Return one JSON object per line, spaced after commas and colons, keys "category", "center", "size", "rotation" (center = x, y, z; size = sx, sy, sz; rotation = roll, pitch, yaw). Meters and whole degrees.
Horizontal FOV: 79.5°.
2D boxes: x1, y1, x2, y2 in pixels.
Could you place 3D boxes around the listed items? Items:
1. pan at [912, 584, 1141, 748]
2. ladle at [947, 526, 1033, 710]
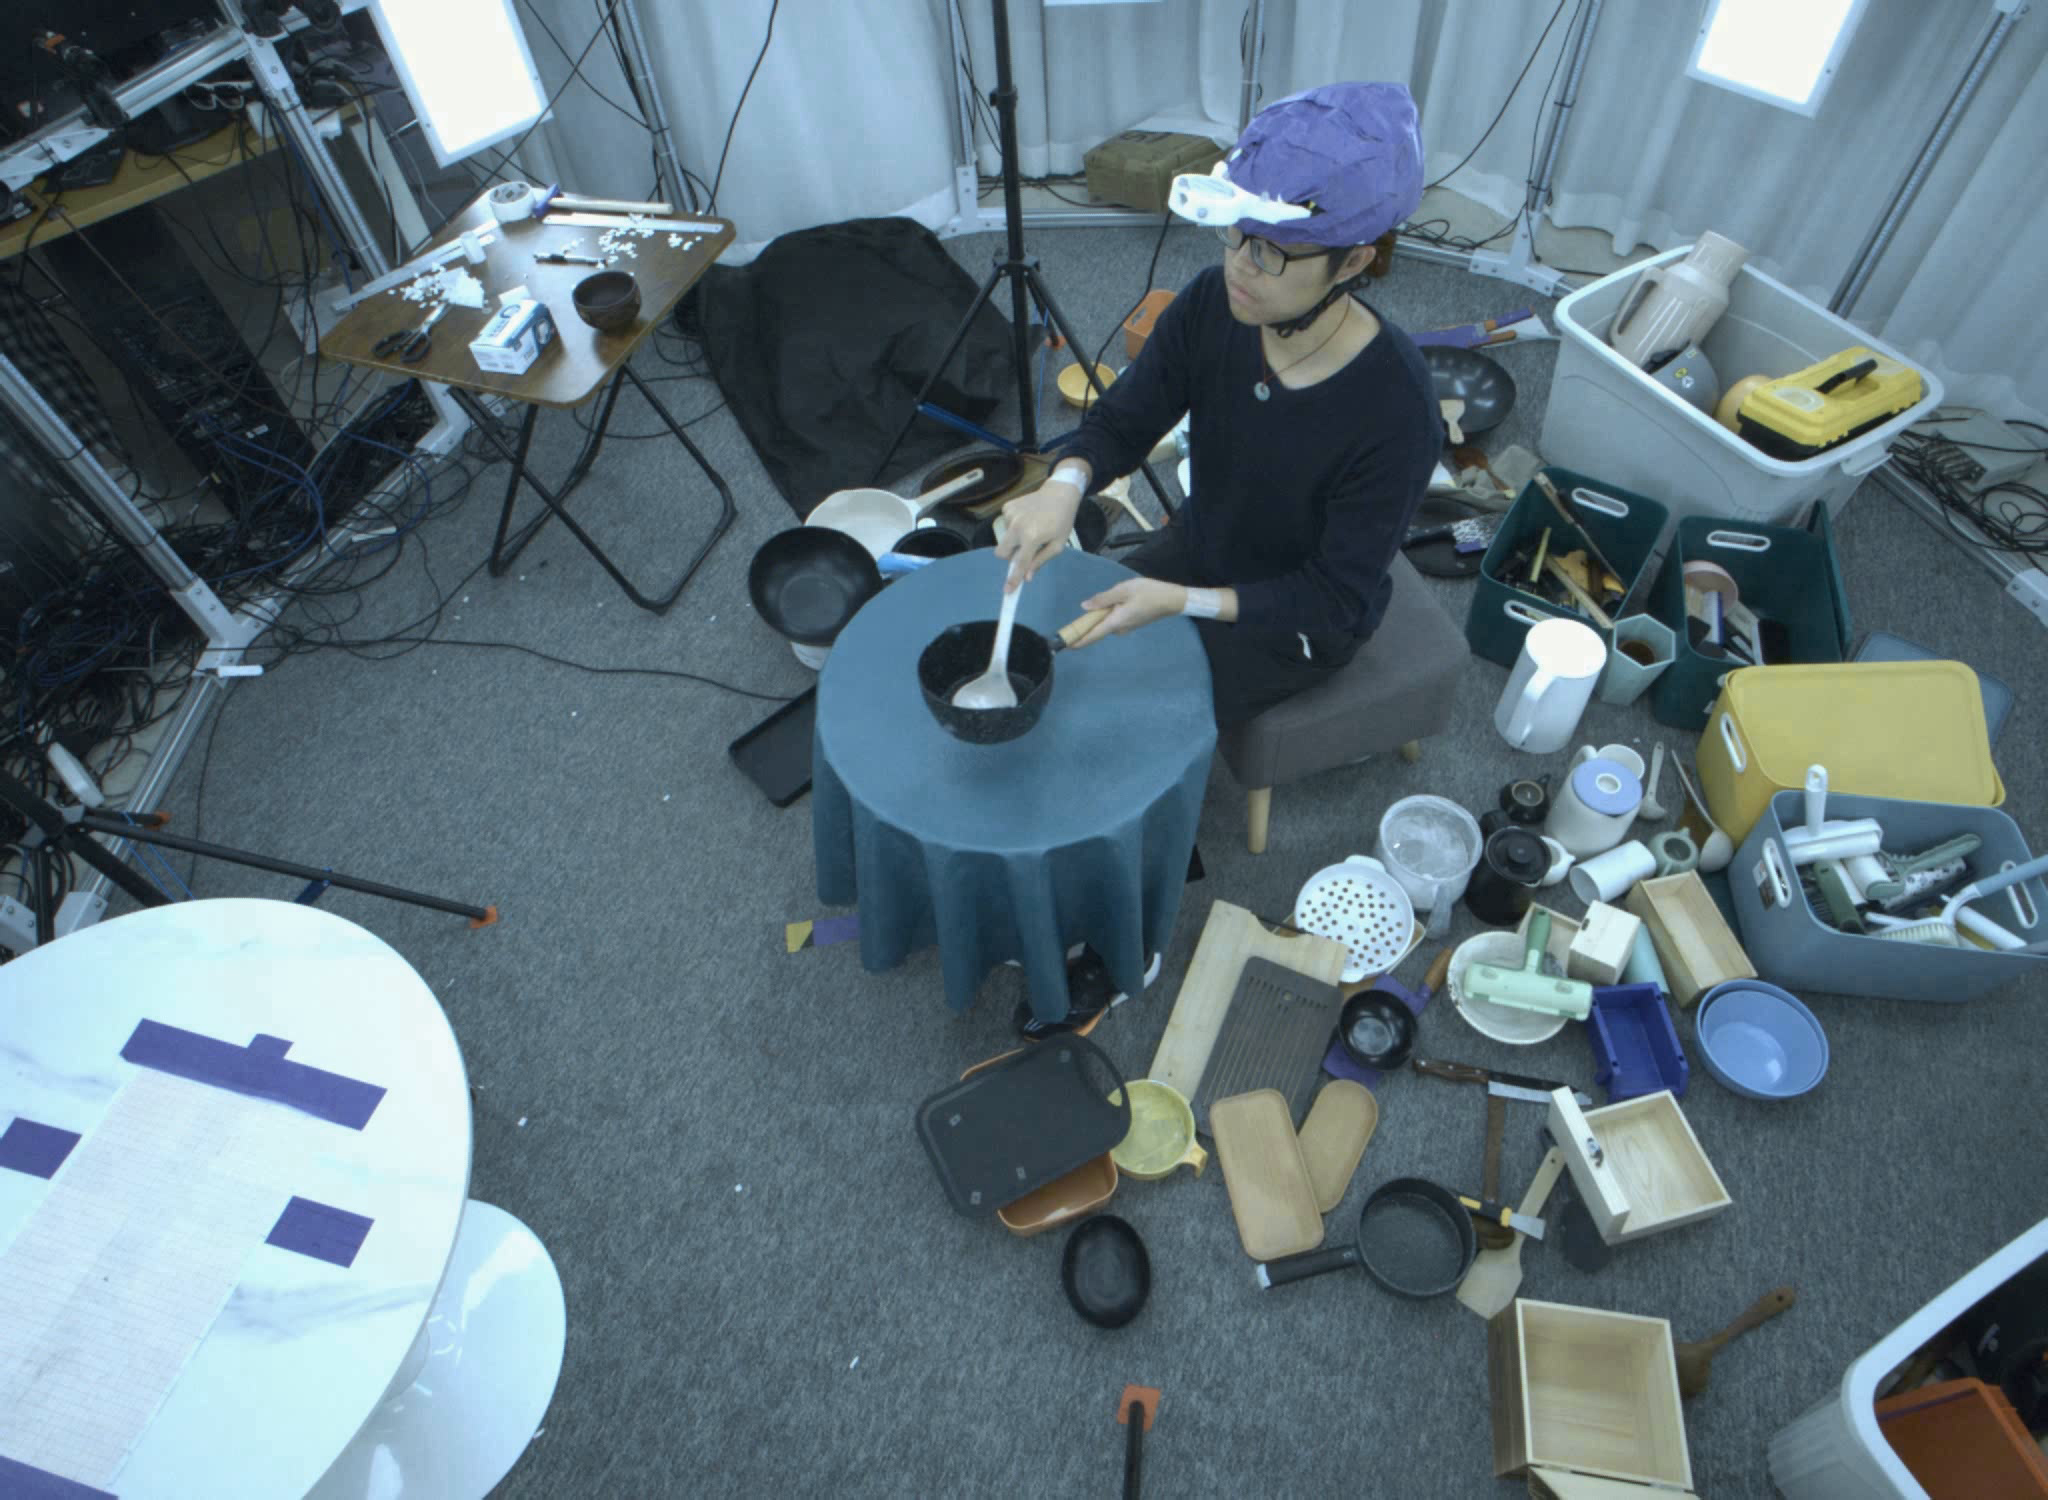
{"category": "pan", "center": [0.013, -0.125, 1.691], "size": [0.346, 0.109, 0.203], "rotation": [-26, 48, -17]}
{"category": "ladle", "center": [-0.039, -0.166, 1.643], "size": [0.087, 0.275, 0.070], "rotation": [19, 14, 27]}
